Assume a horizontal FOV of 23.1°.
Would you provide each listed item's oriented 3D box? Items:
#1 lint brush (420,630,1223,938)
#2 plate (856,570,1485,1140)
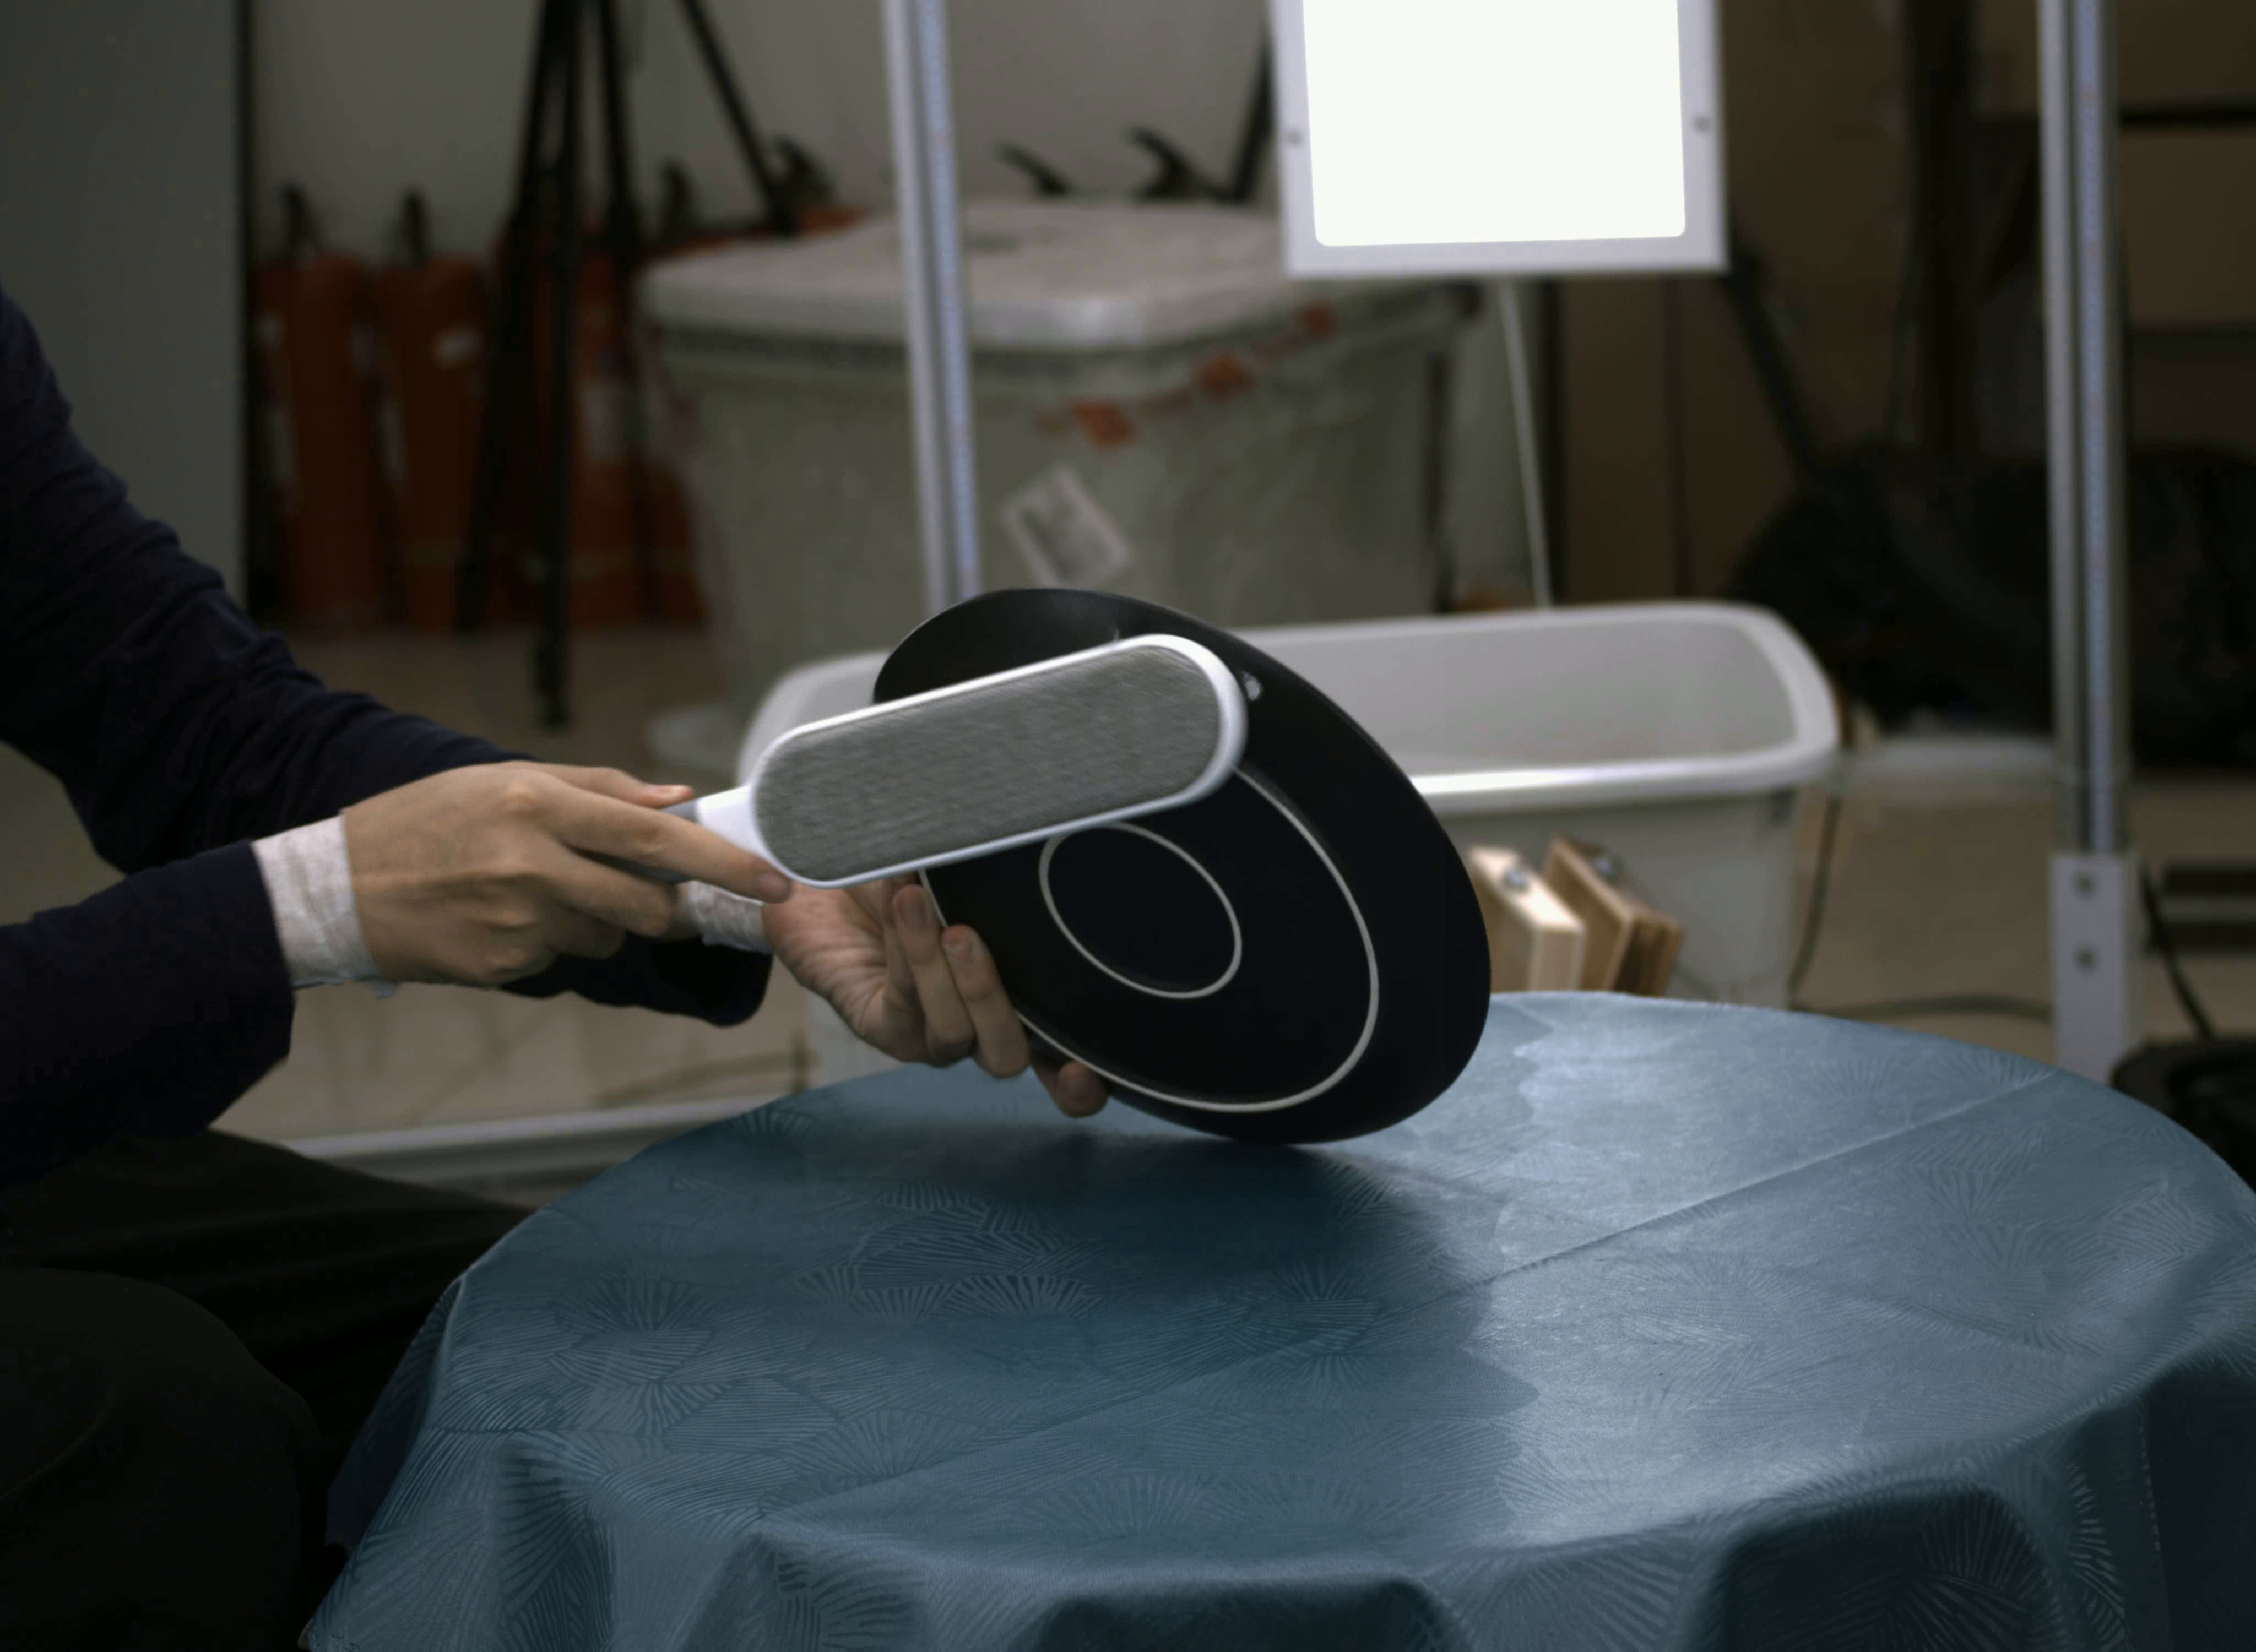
[{"bbox_3d":[-0.107,-0.008,1.850,0.314,0.060,0.020,-15,3,26],"label":"lint brush"},{"bbox_3d":[0.008,0.018,1.875,0.249,0.244,0.023,5,39,34],"label":"plate"}]
